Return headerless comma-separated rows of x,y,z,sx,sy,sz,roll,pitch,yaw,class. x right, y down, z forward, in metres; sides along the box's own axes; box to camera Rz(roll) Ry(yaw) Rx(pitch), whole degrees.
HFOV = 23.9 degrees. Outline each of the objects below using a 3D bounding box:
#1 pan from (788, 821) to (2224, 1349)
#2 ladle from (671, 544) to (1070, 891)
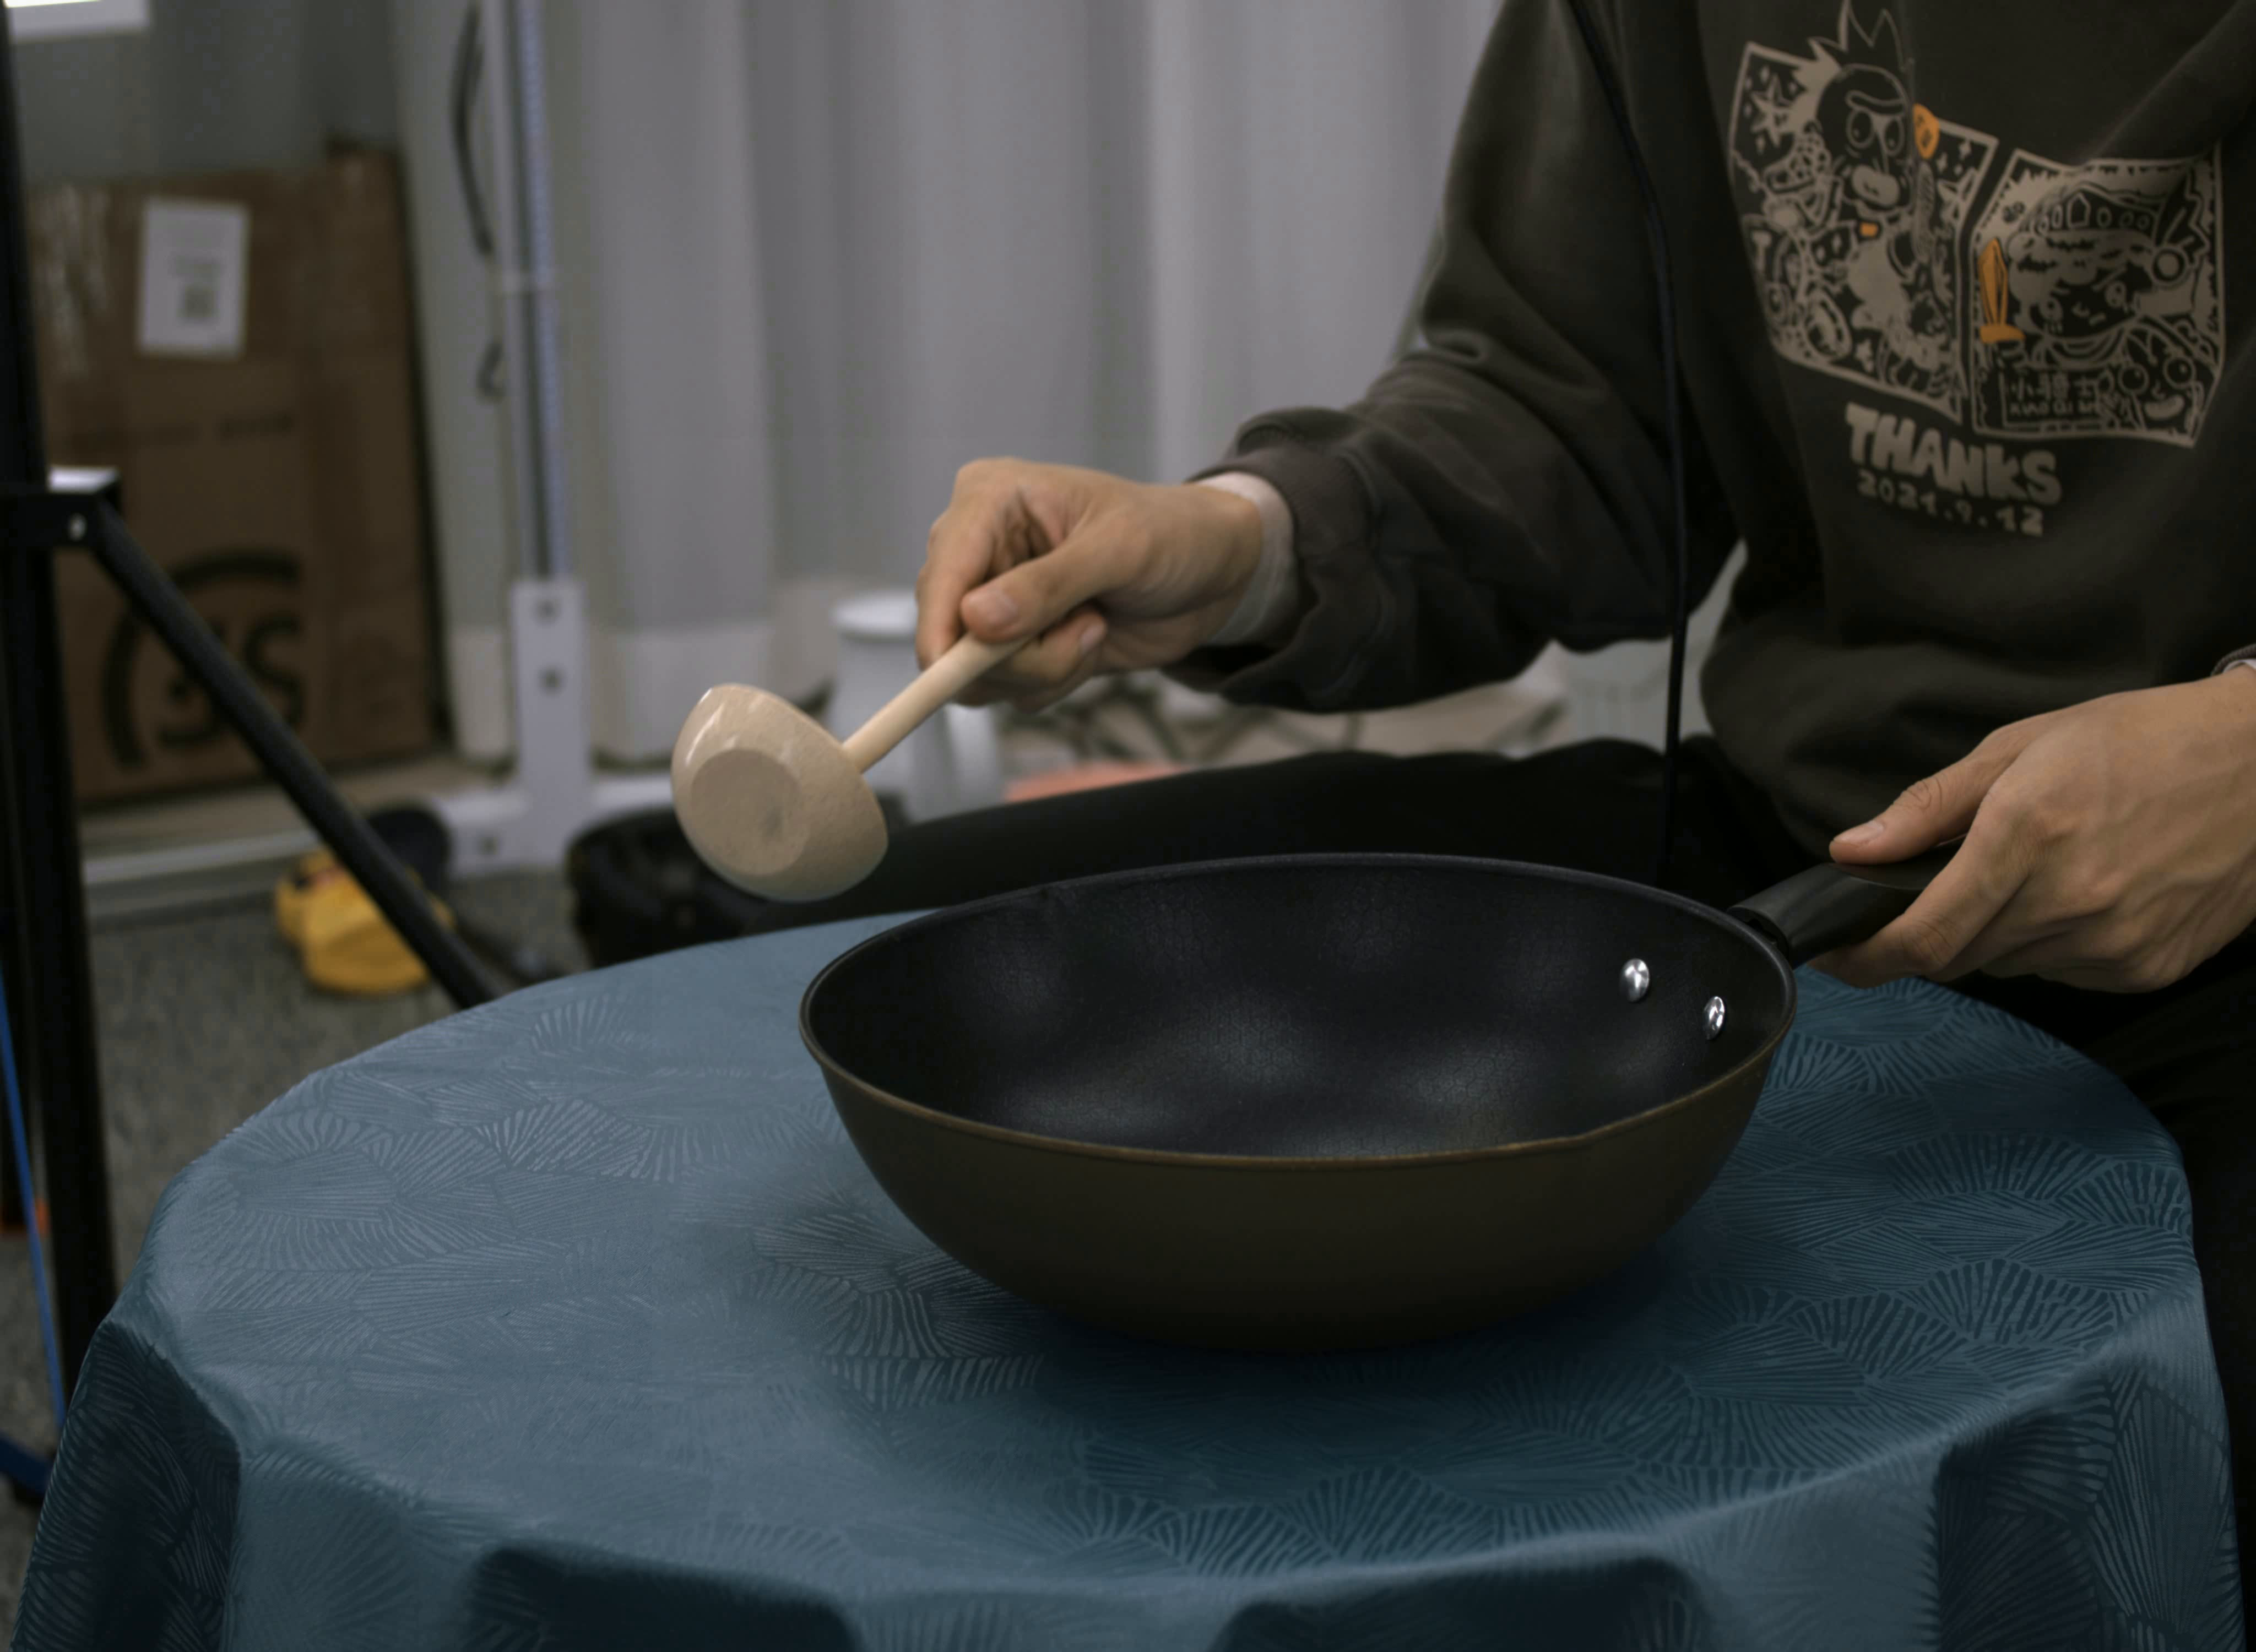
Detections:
0.125,0.068,1.529,0.453,0.087,0.294,-9,17,-26,pan
-0.060,-0.059,1.654,0.072,0.073,0.252,36,37,5,ladle
